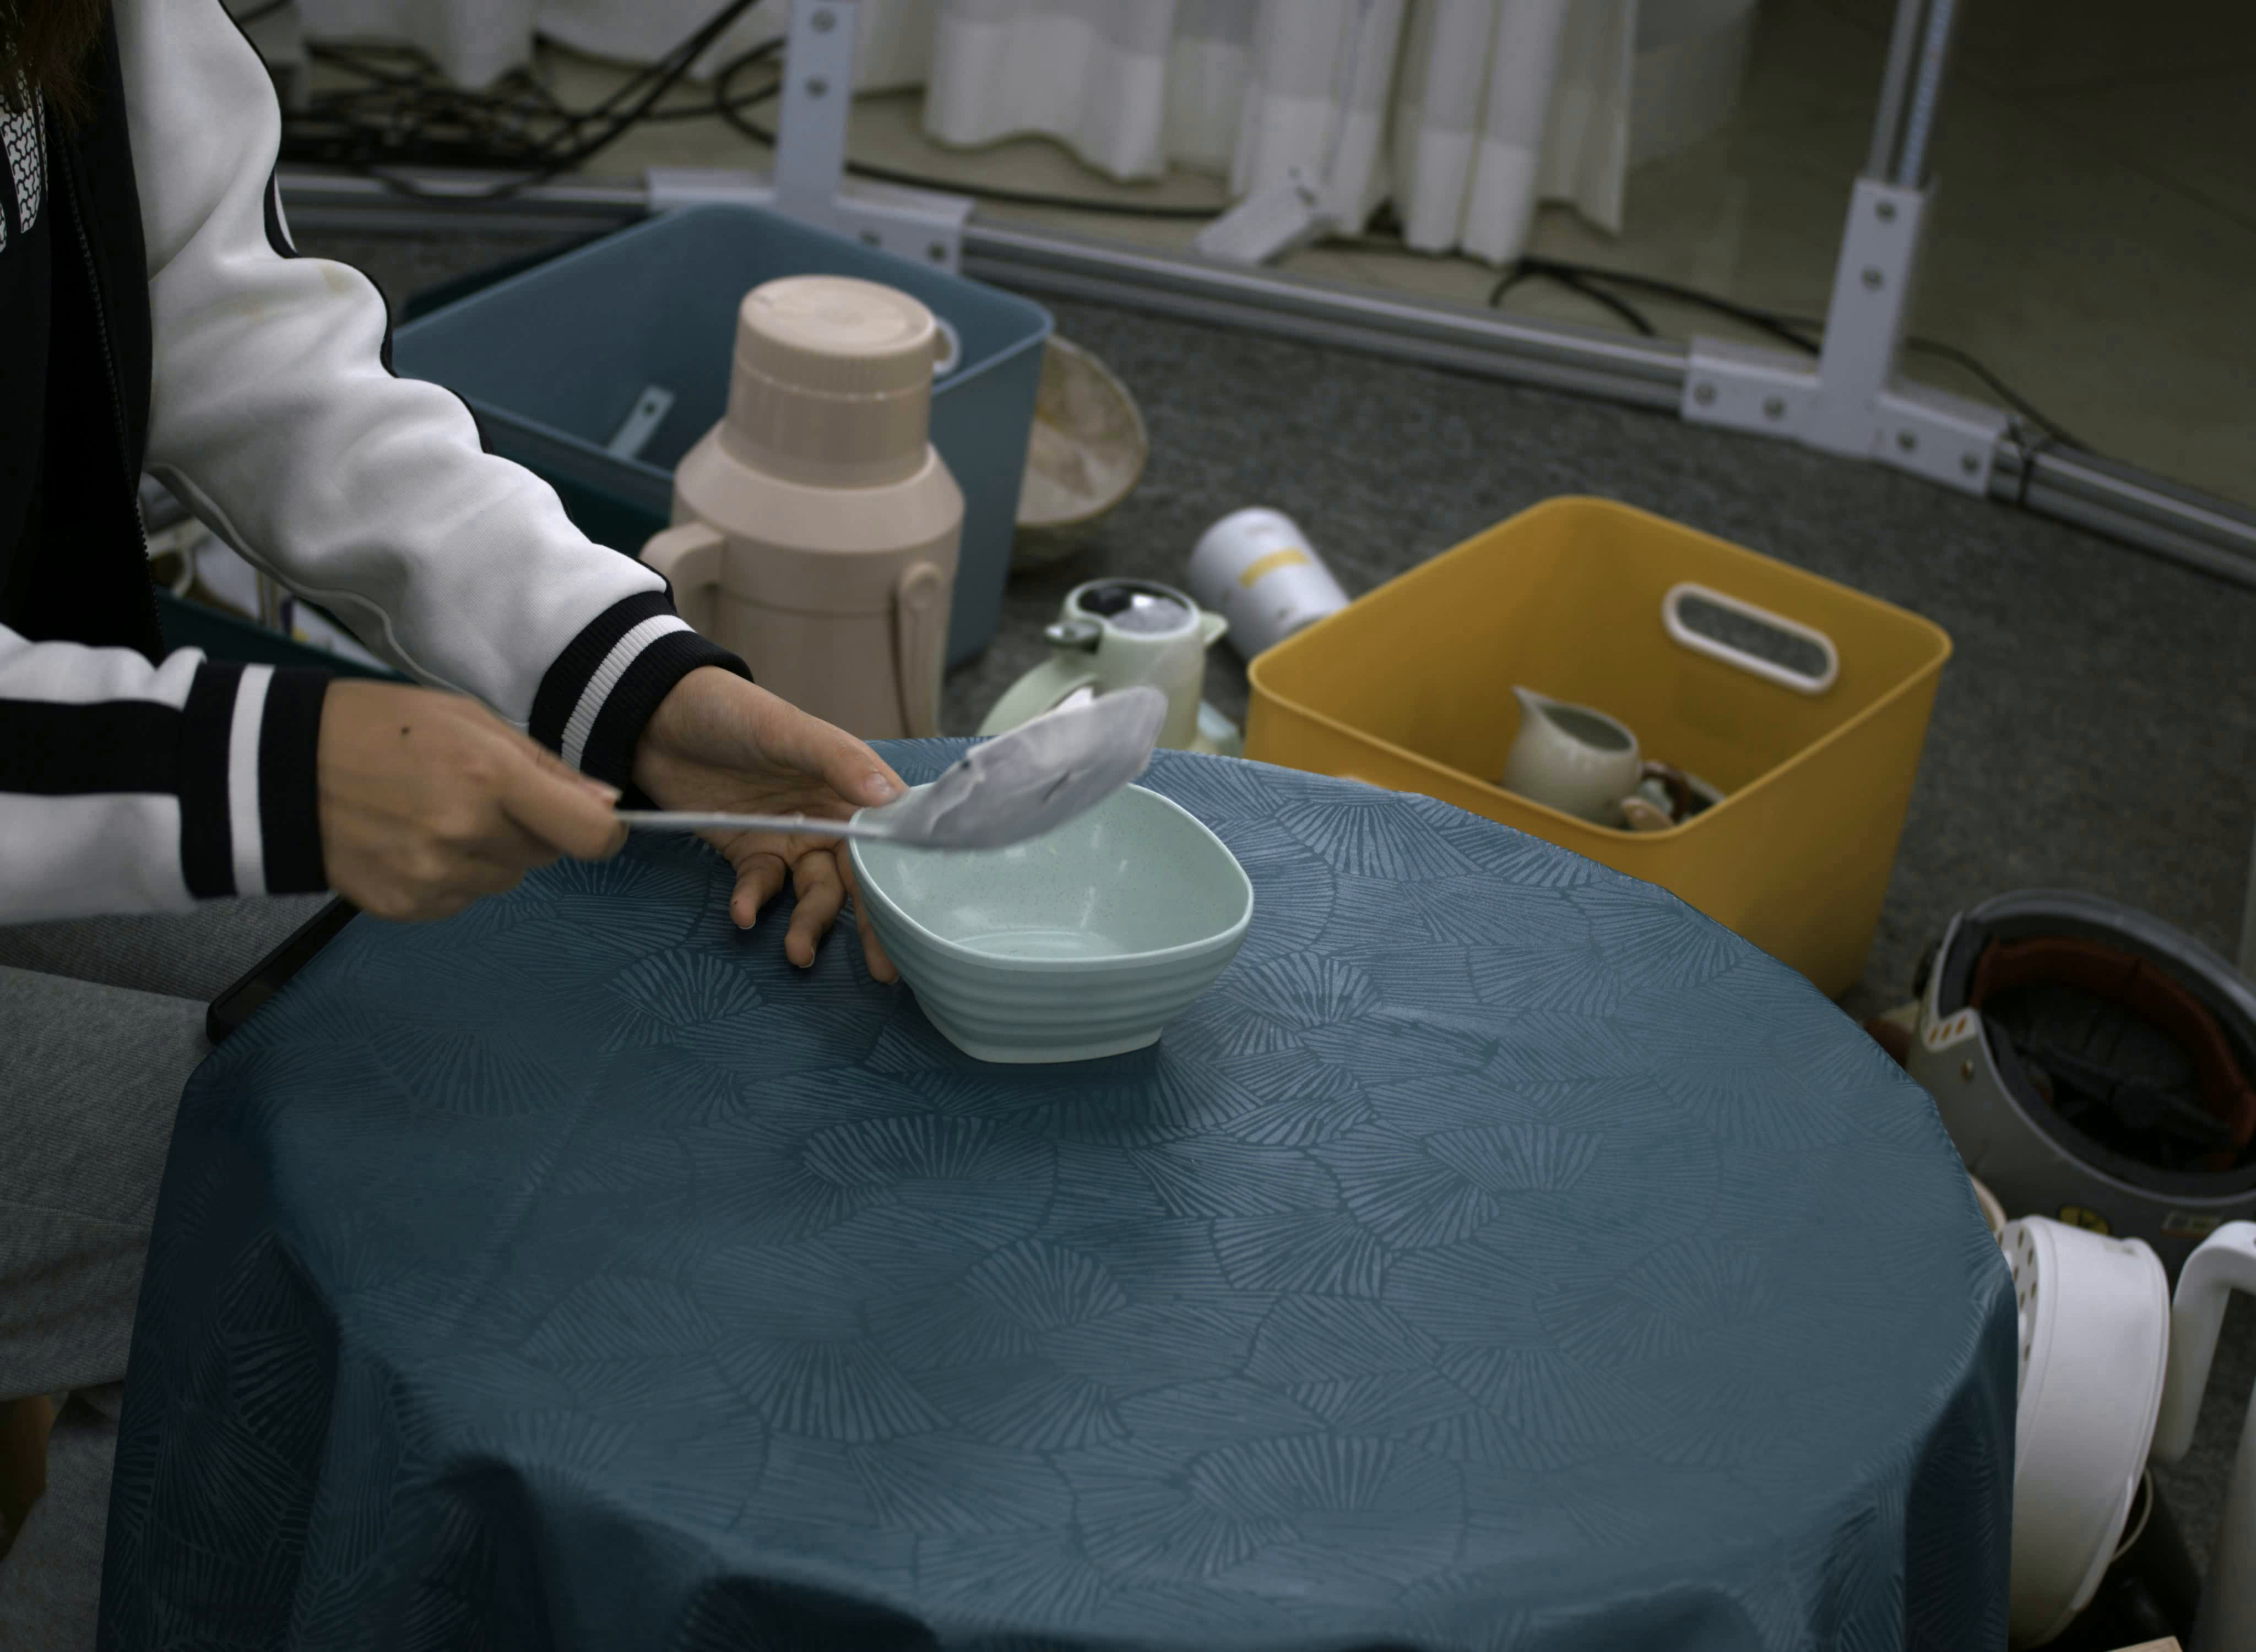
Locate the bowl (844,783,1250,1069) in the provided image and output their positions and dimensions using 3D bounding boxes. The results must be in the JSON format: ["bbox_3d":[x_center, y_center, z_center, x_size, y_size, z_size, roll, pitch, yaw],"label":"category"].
[{"bbox_3d":[-0.032,0.041,1.900,0.151,0.058,0.152,5,27,-3],"label":"bowl"}]

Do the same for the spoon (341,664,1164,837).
[{"bbox_3d":[-0.125,-0.030,1.746,0.278,0.059,0.100,4,-12,16],"label":"spoon"}]
